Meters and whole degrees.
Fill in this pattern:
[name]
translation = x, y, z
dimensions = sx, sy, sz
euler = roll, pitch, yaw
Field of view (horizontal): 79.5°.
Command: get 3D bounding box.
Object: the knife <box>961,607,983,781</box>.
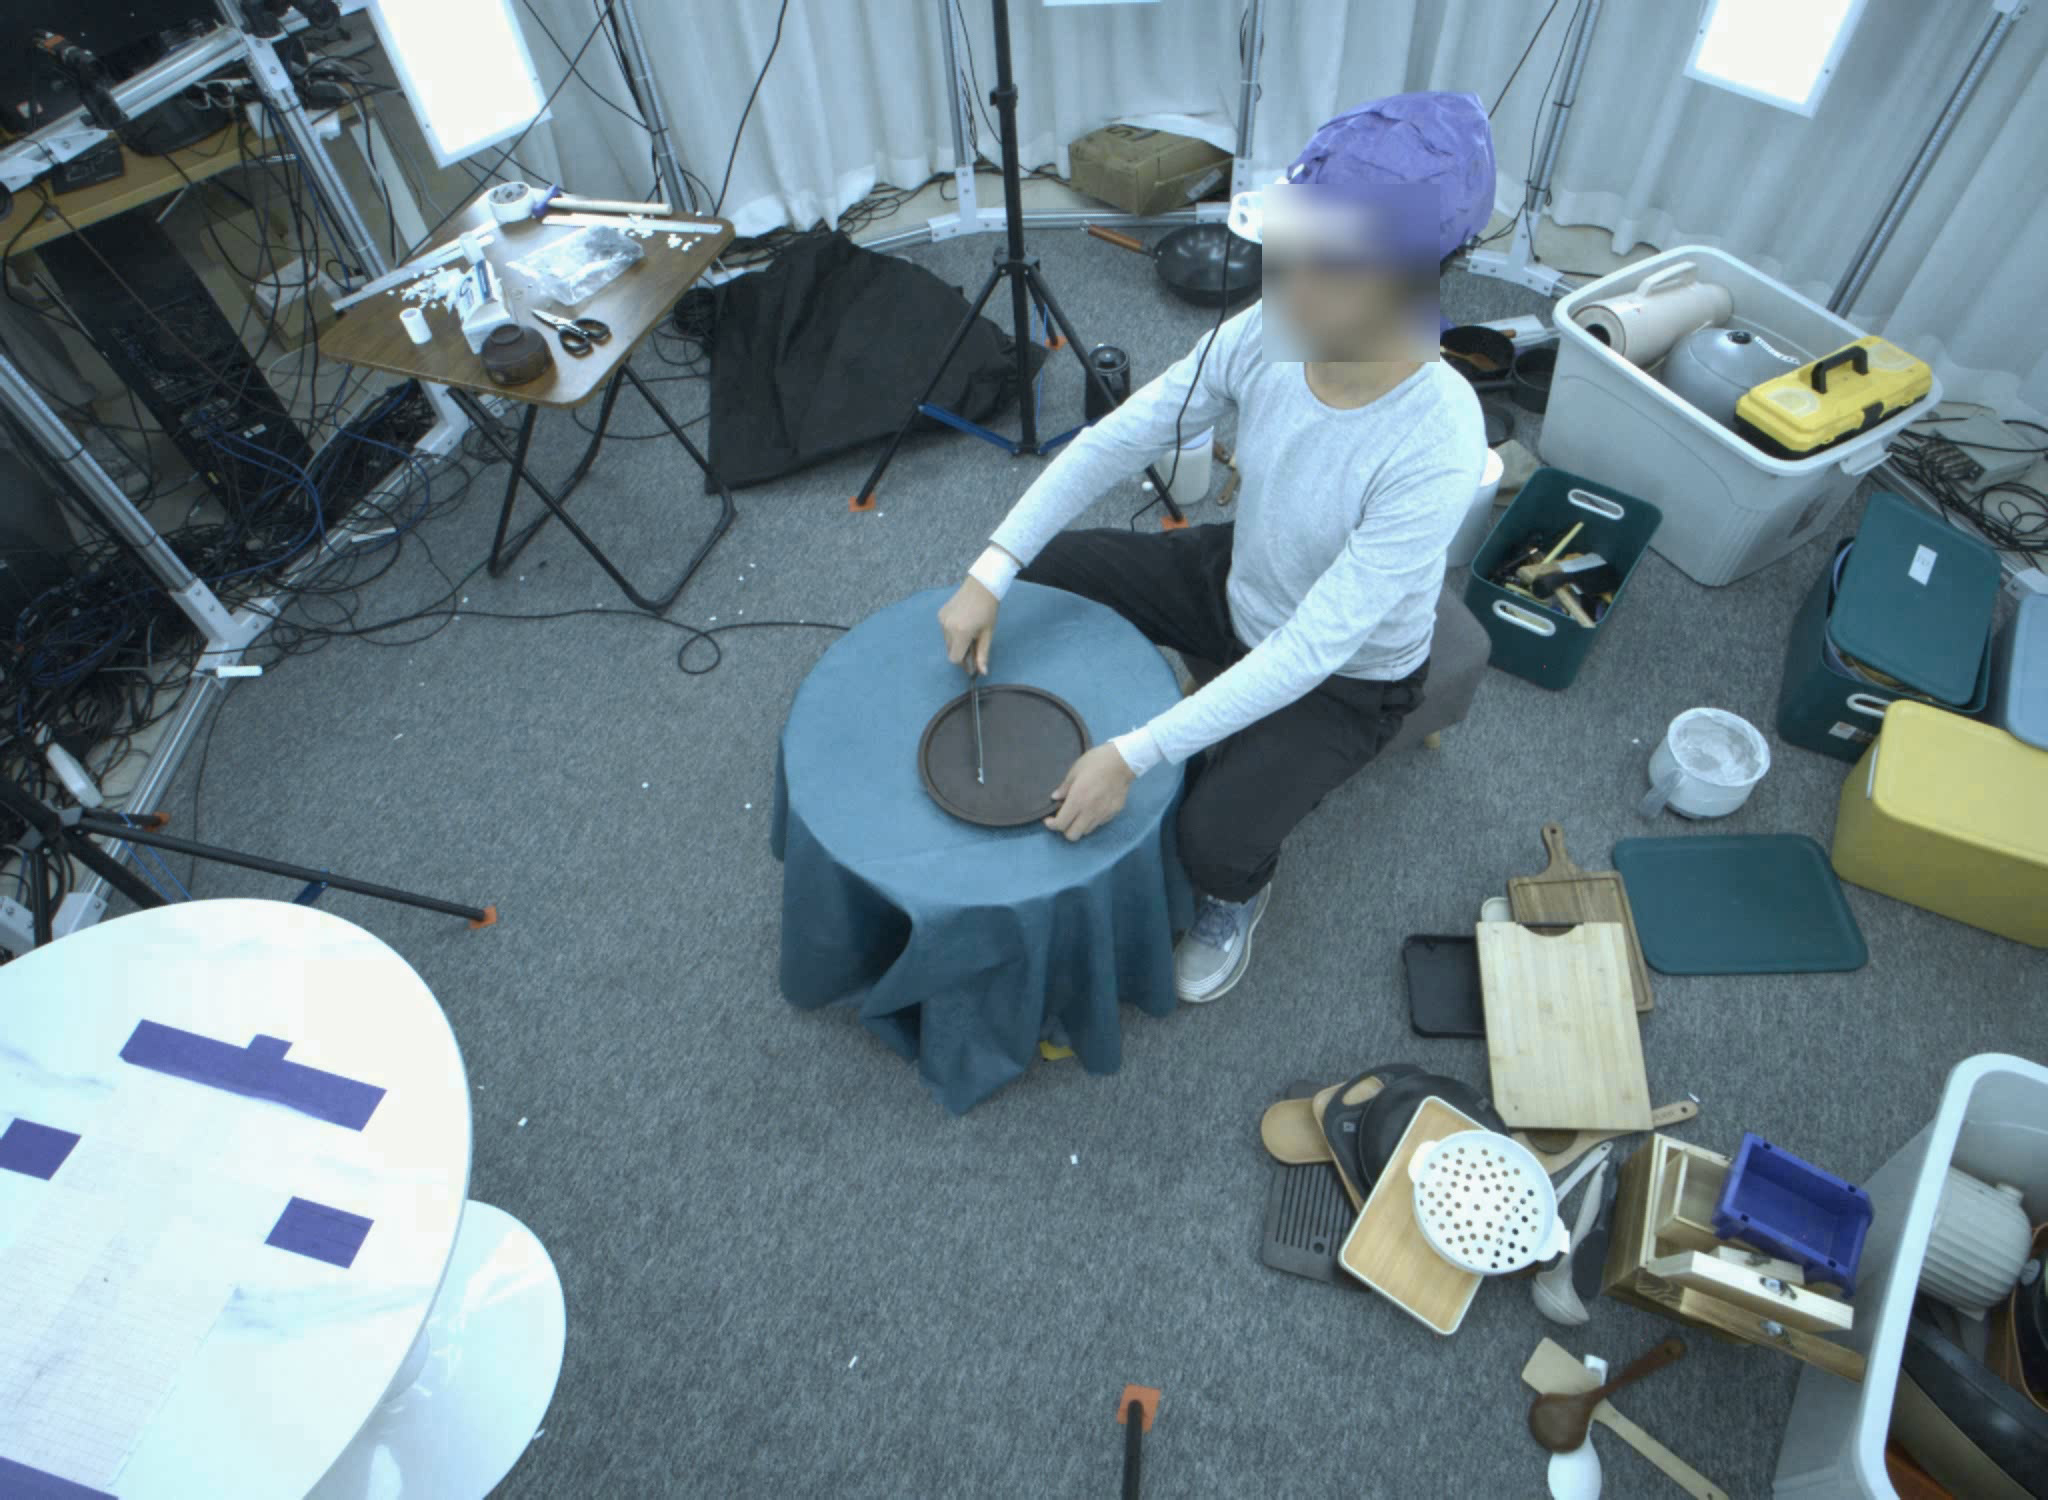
[knife]
translation = -0.074, -0.085, 1.800
dimensions = 0.020, 0.051, 0.286
euler = -9, 64, 7

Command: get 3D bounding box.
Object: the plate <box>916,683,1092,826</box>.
[plate]
translation = -0.029, 0.005, 1.777
dimensions = 0.255, 0.029, 0.252
euler = 0, 52, 1
